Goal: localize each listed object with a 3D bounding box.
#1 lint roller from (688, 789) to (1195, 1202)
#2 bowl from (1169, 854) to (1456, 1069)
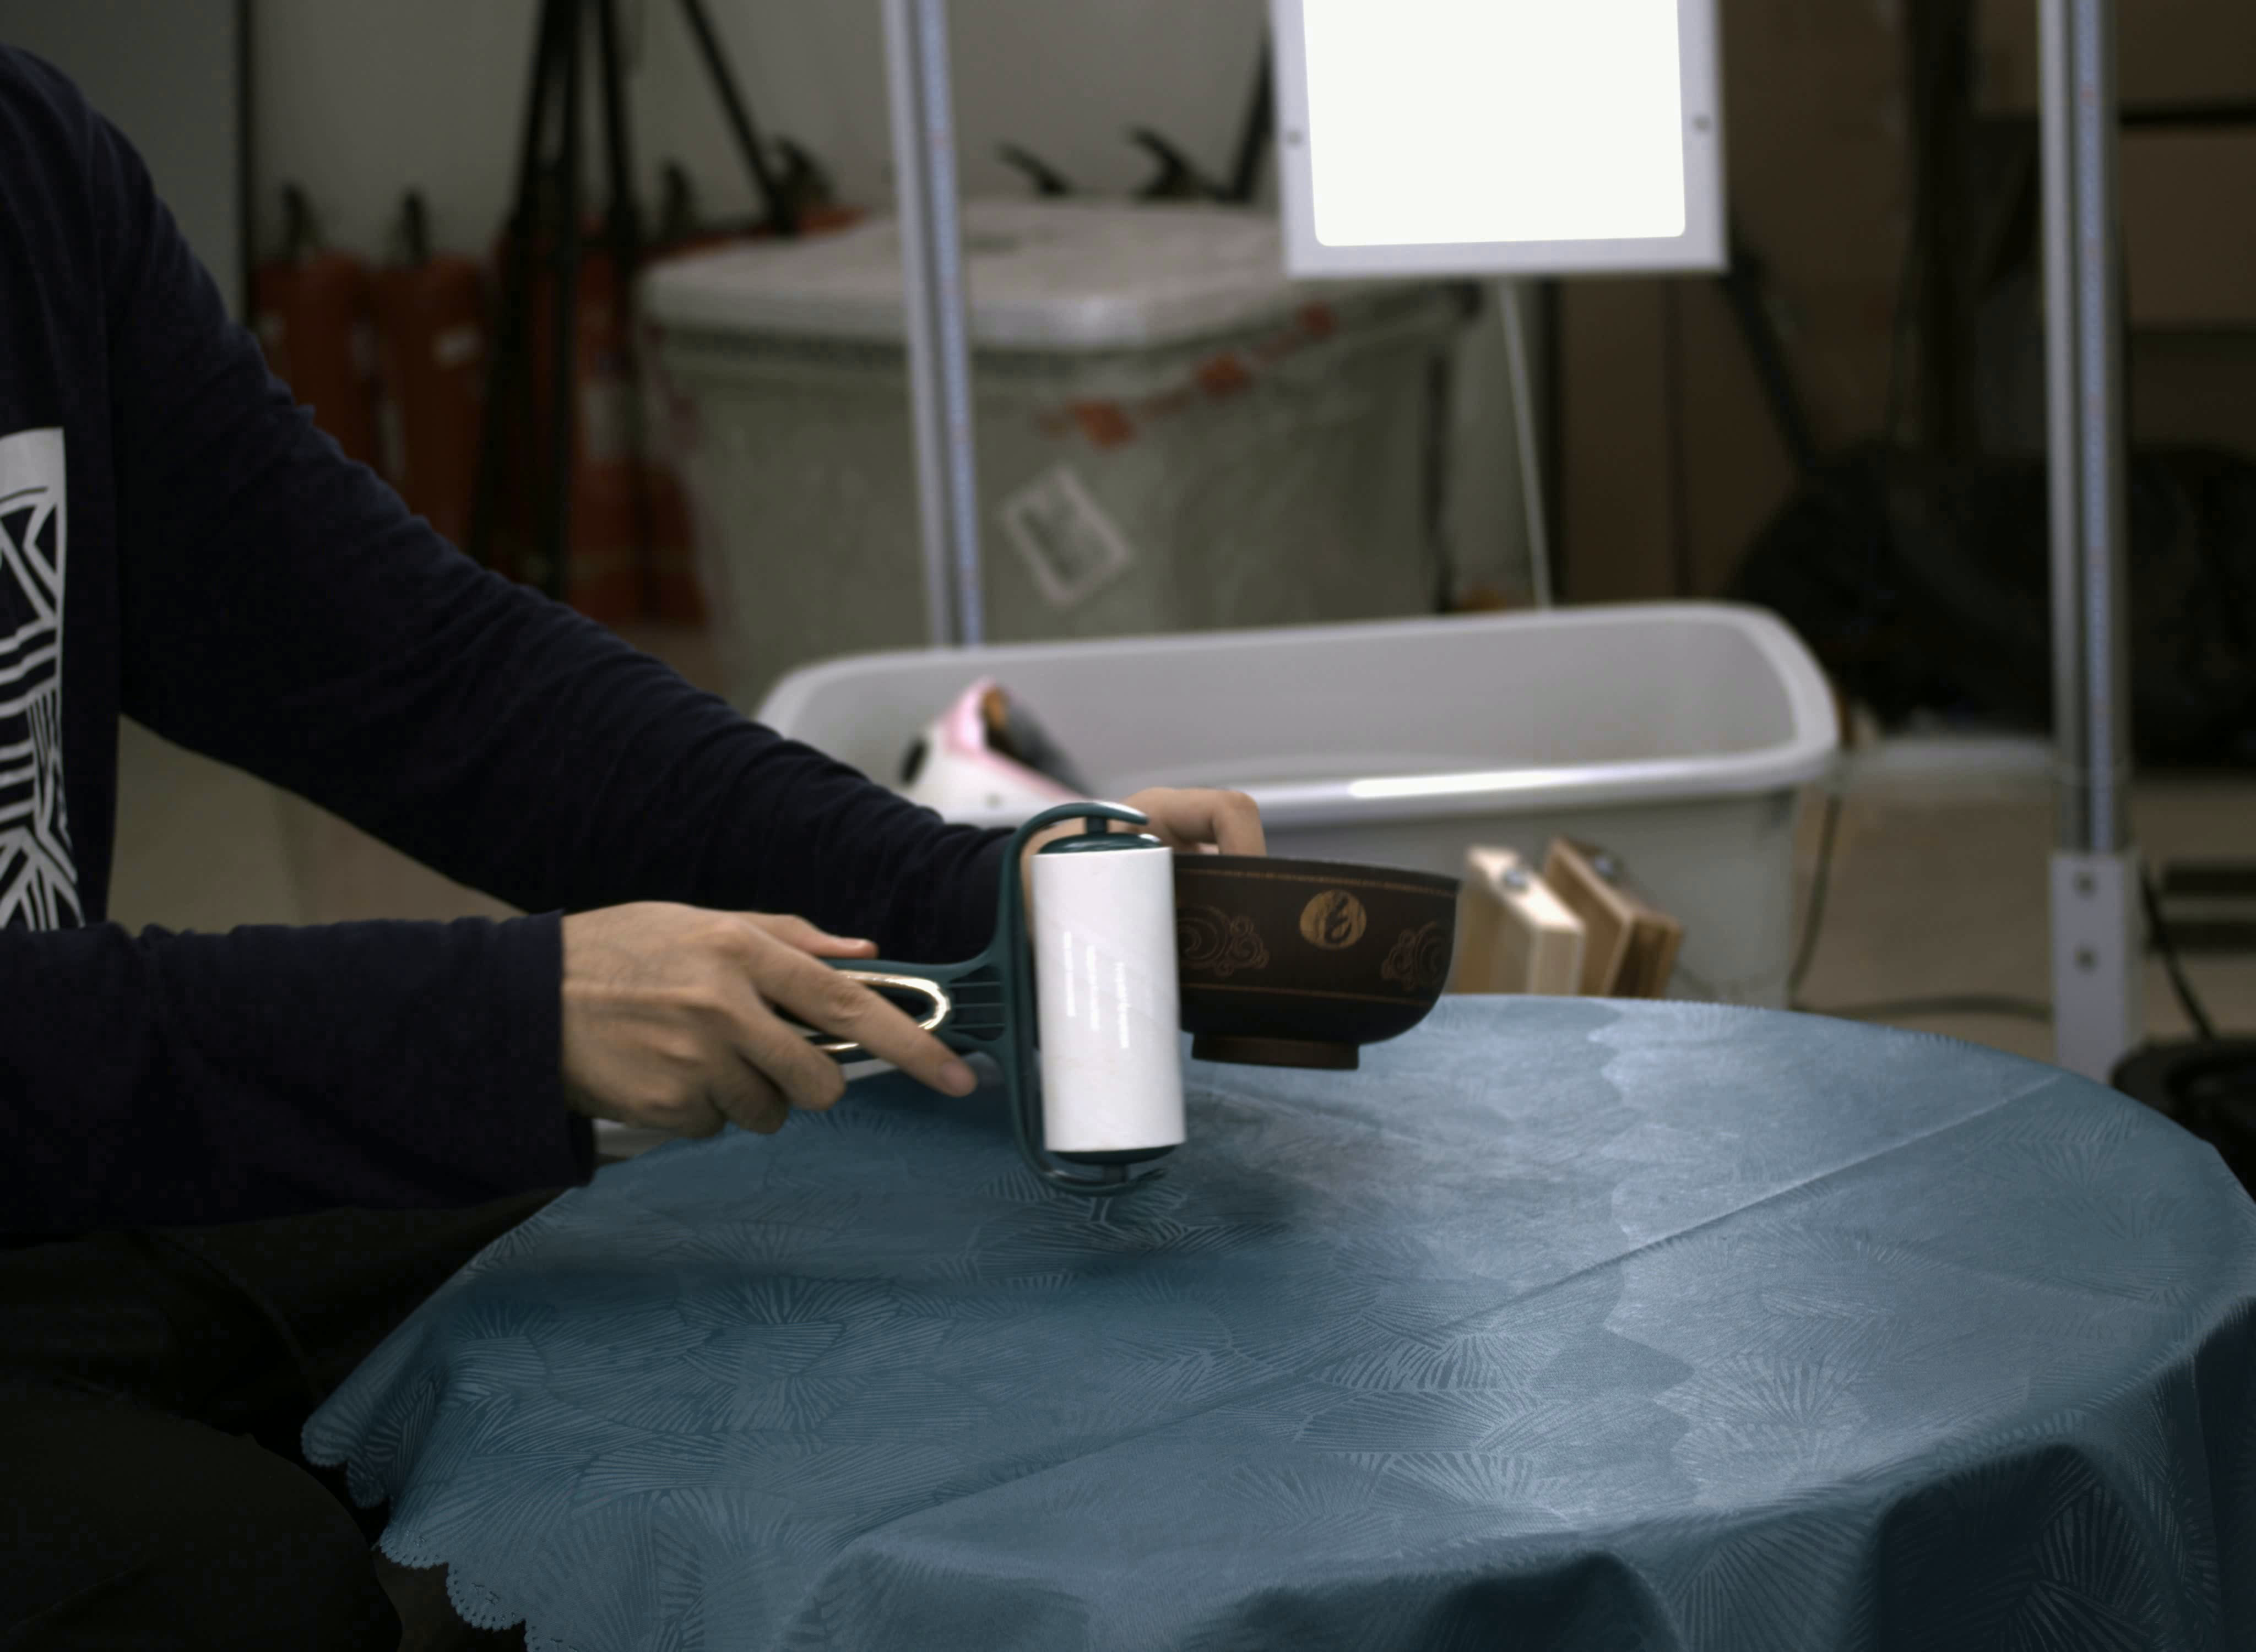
[{"bbox_3d":[-0.068,0.062,1.841,0.182,0.134,0.047,-5,-4,16],"label":"lint roller"},{"bbox_3d":[0.053,0.047,1.882,0.117,0.070,0.118,3,-2,-1],"label":"bowl"}]
